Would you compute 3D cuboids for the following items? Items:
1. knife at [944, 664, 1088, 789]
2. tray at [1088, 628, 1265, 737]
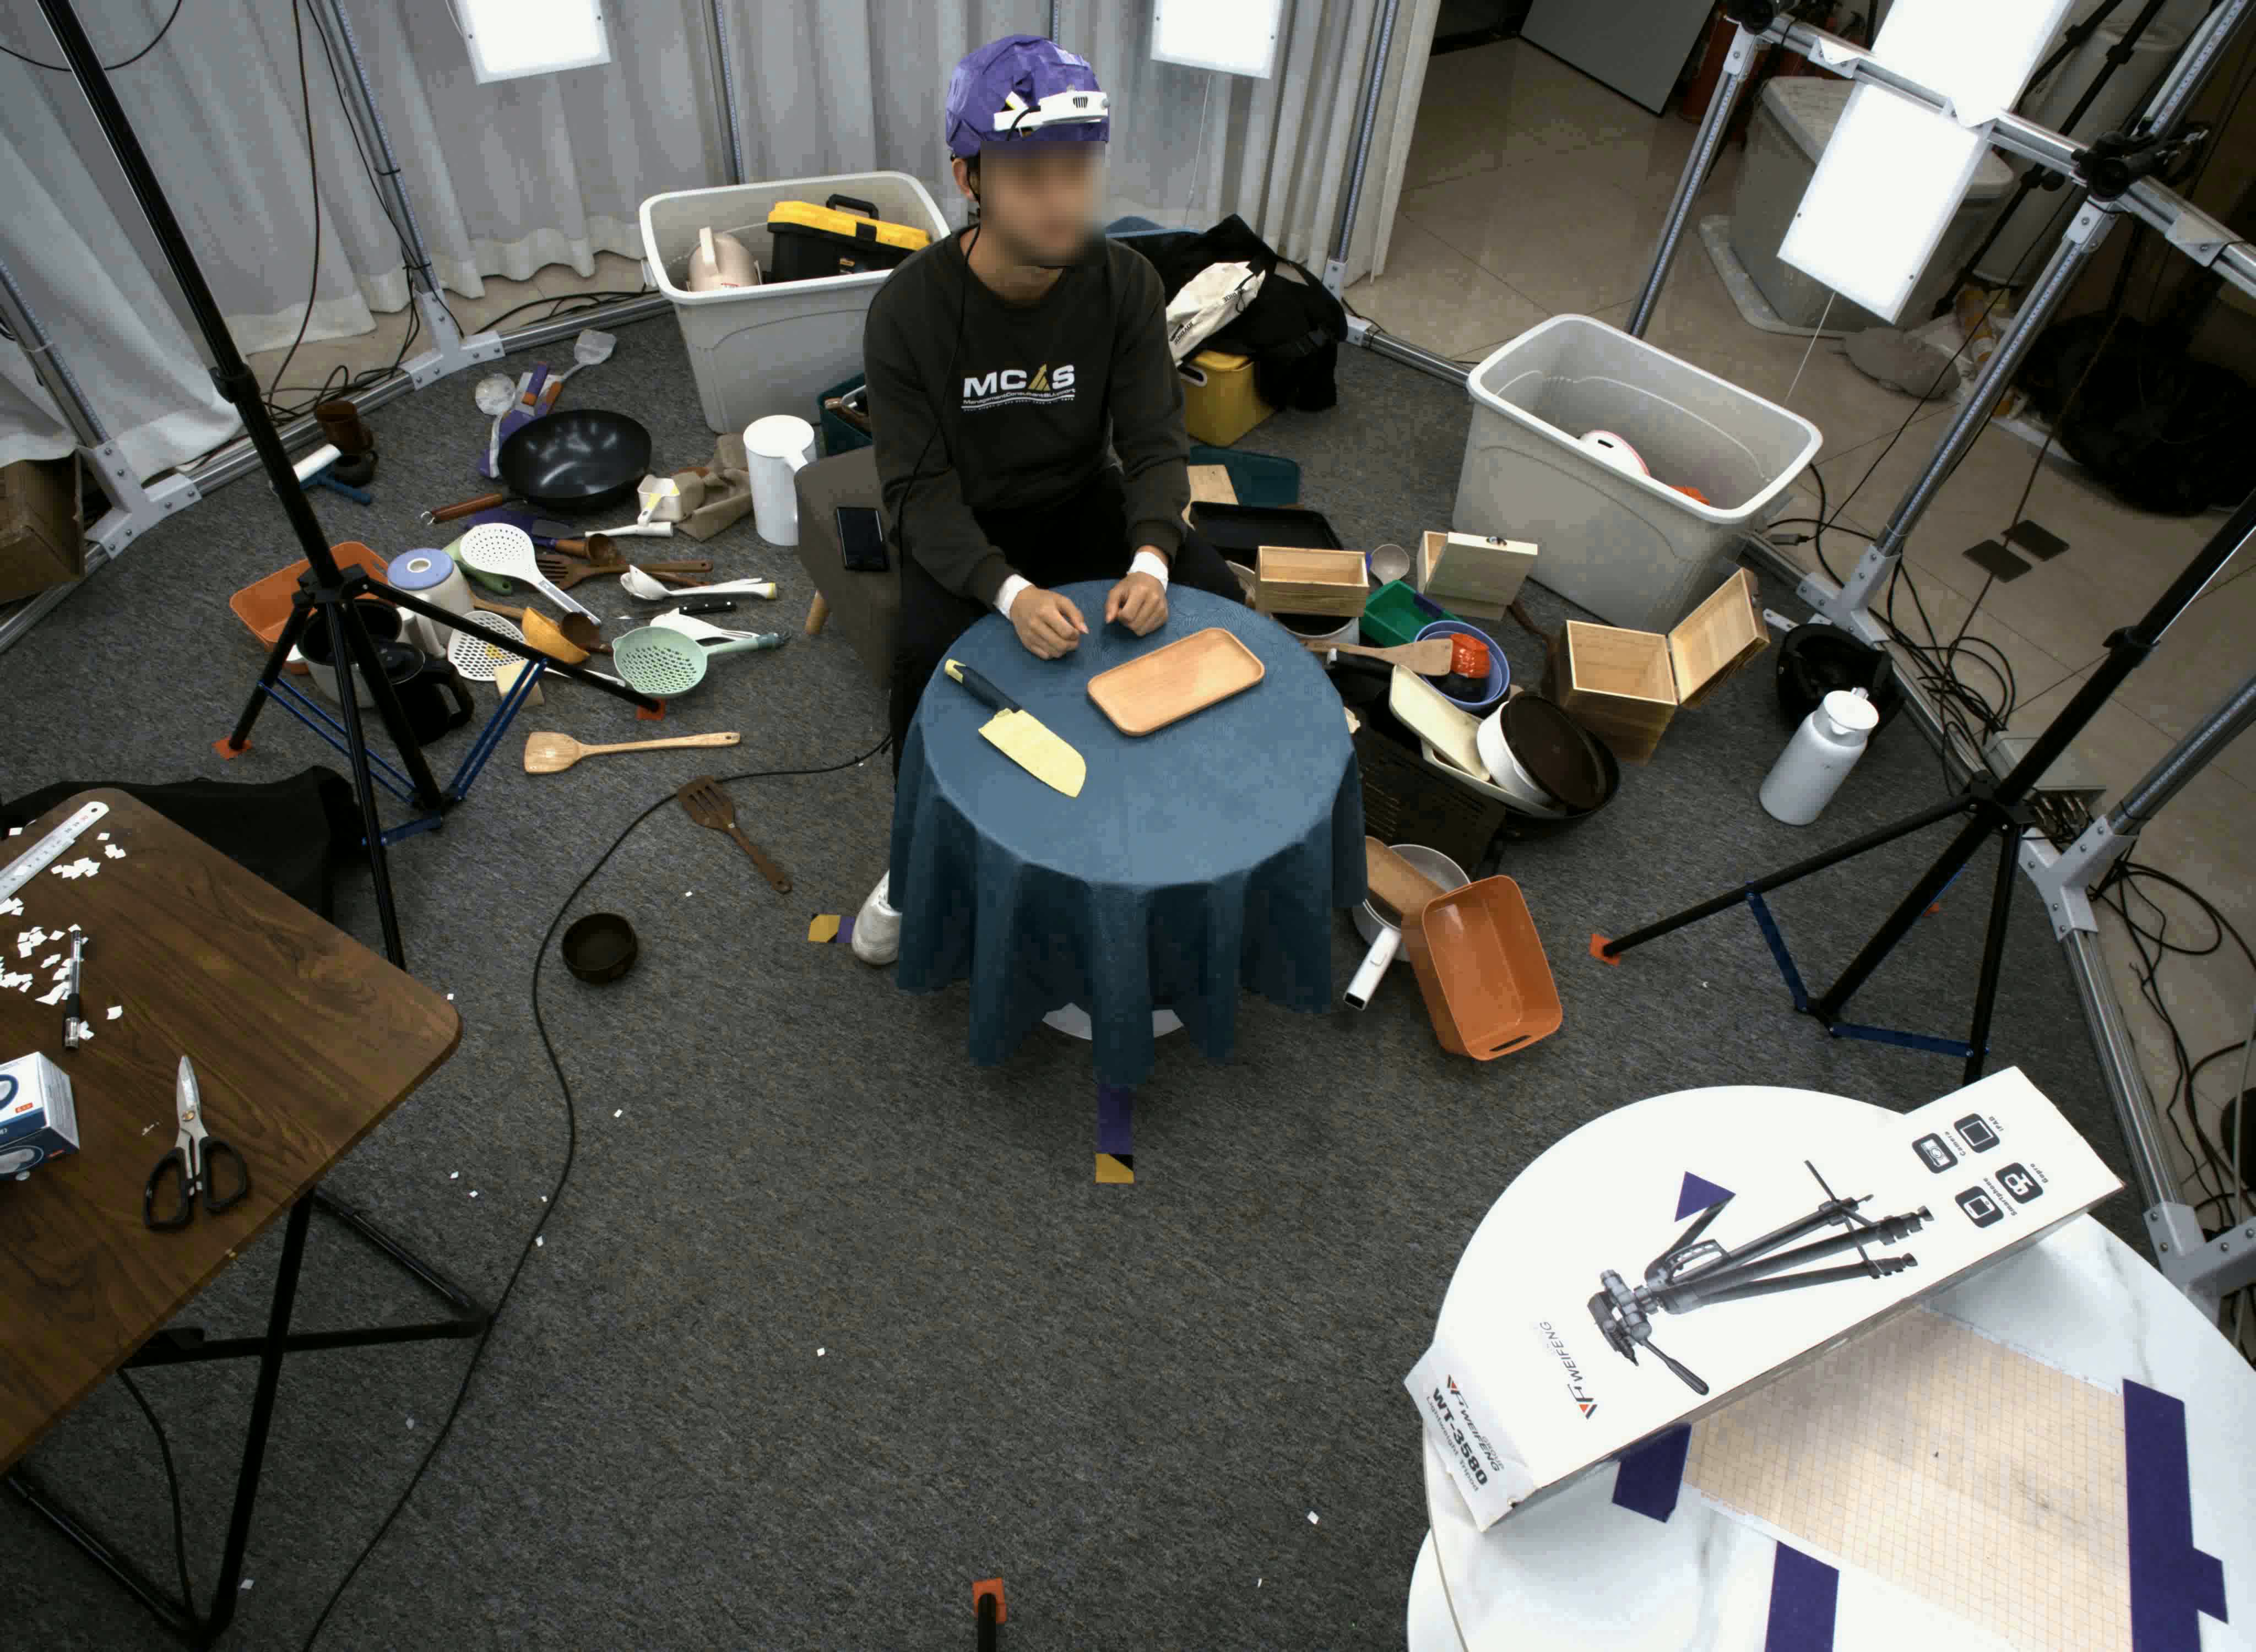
[{"bbox_3d":[-0.162,-0.136,1.765,0.082,0.026,0.294,-34,60,-30],"label":"knife"},{"bbox_3d":[0.071,-0.208,1.841,0.252,0.022,0.133,-26,53,-23],"label":"tray"}]
